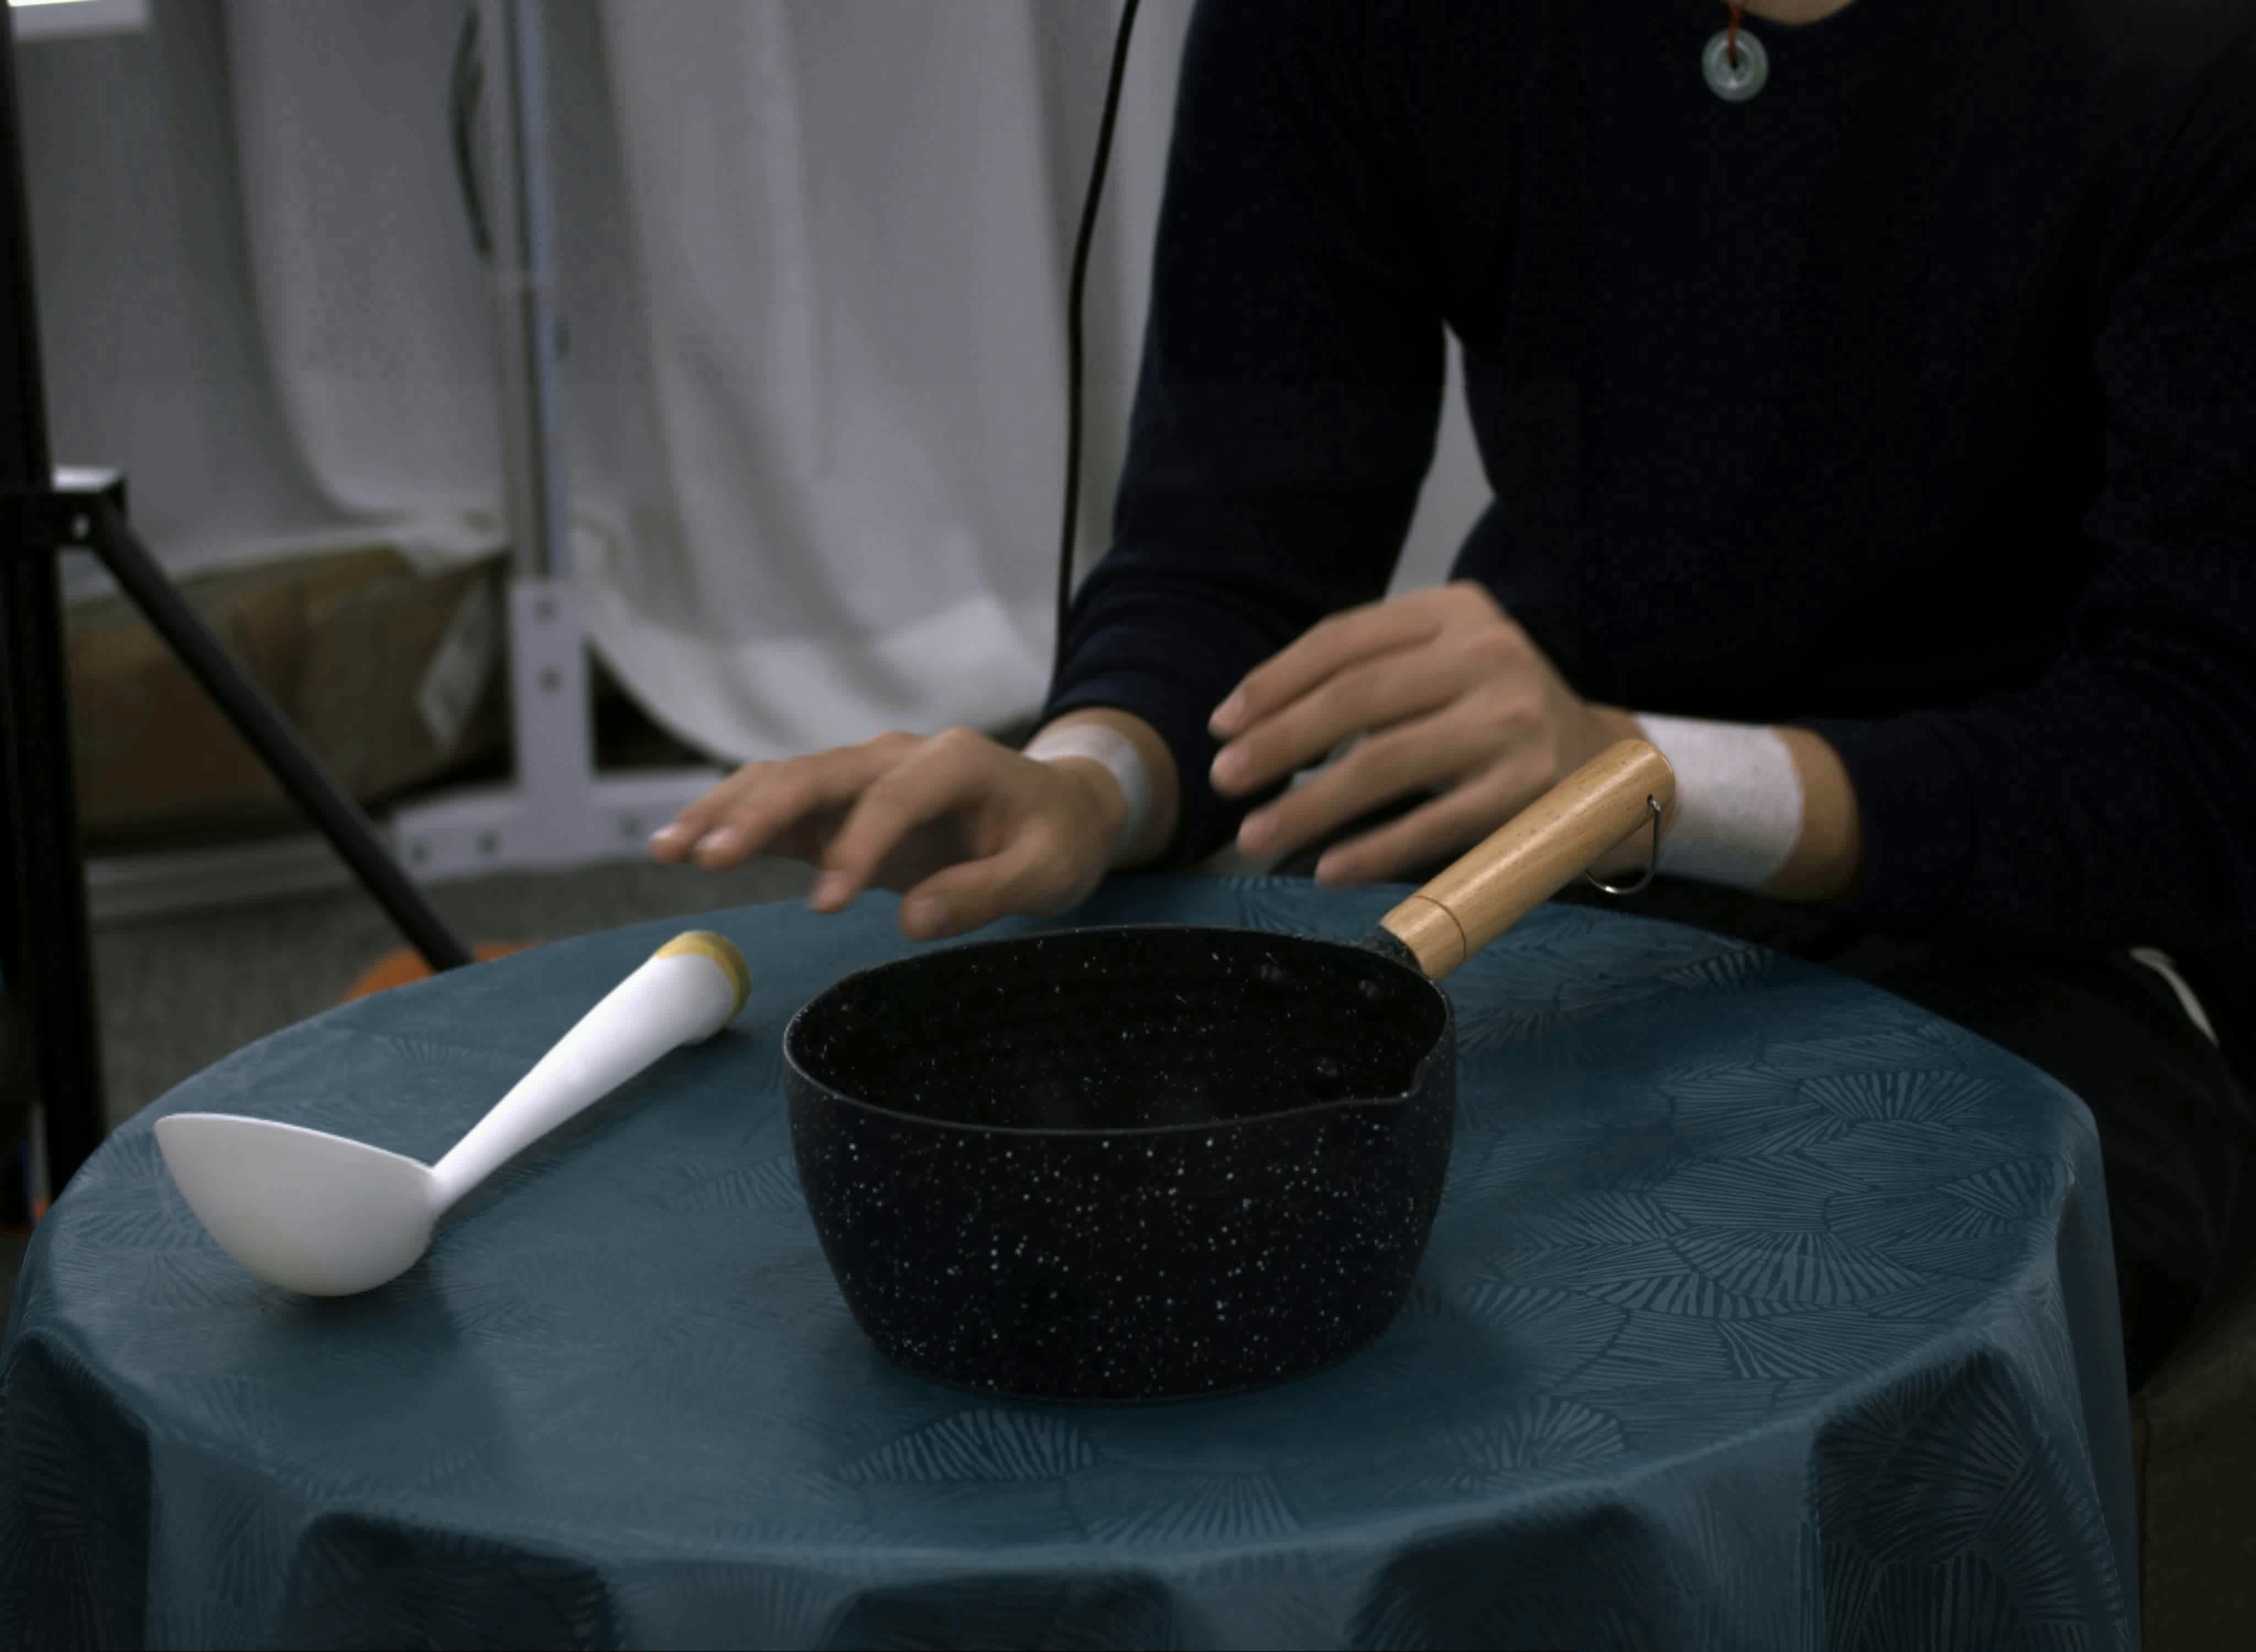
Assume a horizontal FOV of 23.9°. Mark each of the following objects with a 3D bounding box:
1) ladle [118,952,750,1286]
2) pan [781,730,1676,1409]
[{"bbox_3d":[-0.194,0.073,1.599,0.091,0.070,0.289,-2,14,25],"label":"ladle"},{"bbox_3d":[0.049,0.064,1.508,0.212,0.108,0.335,9,21,40],"label":"pan"}]
